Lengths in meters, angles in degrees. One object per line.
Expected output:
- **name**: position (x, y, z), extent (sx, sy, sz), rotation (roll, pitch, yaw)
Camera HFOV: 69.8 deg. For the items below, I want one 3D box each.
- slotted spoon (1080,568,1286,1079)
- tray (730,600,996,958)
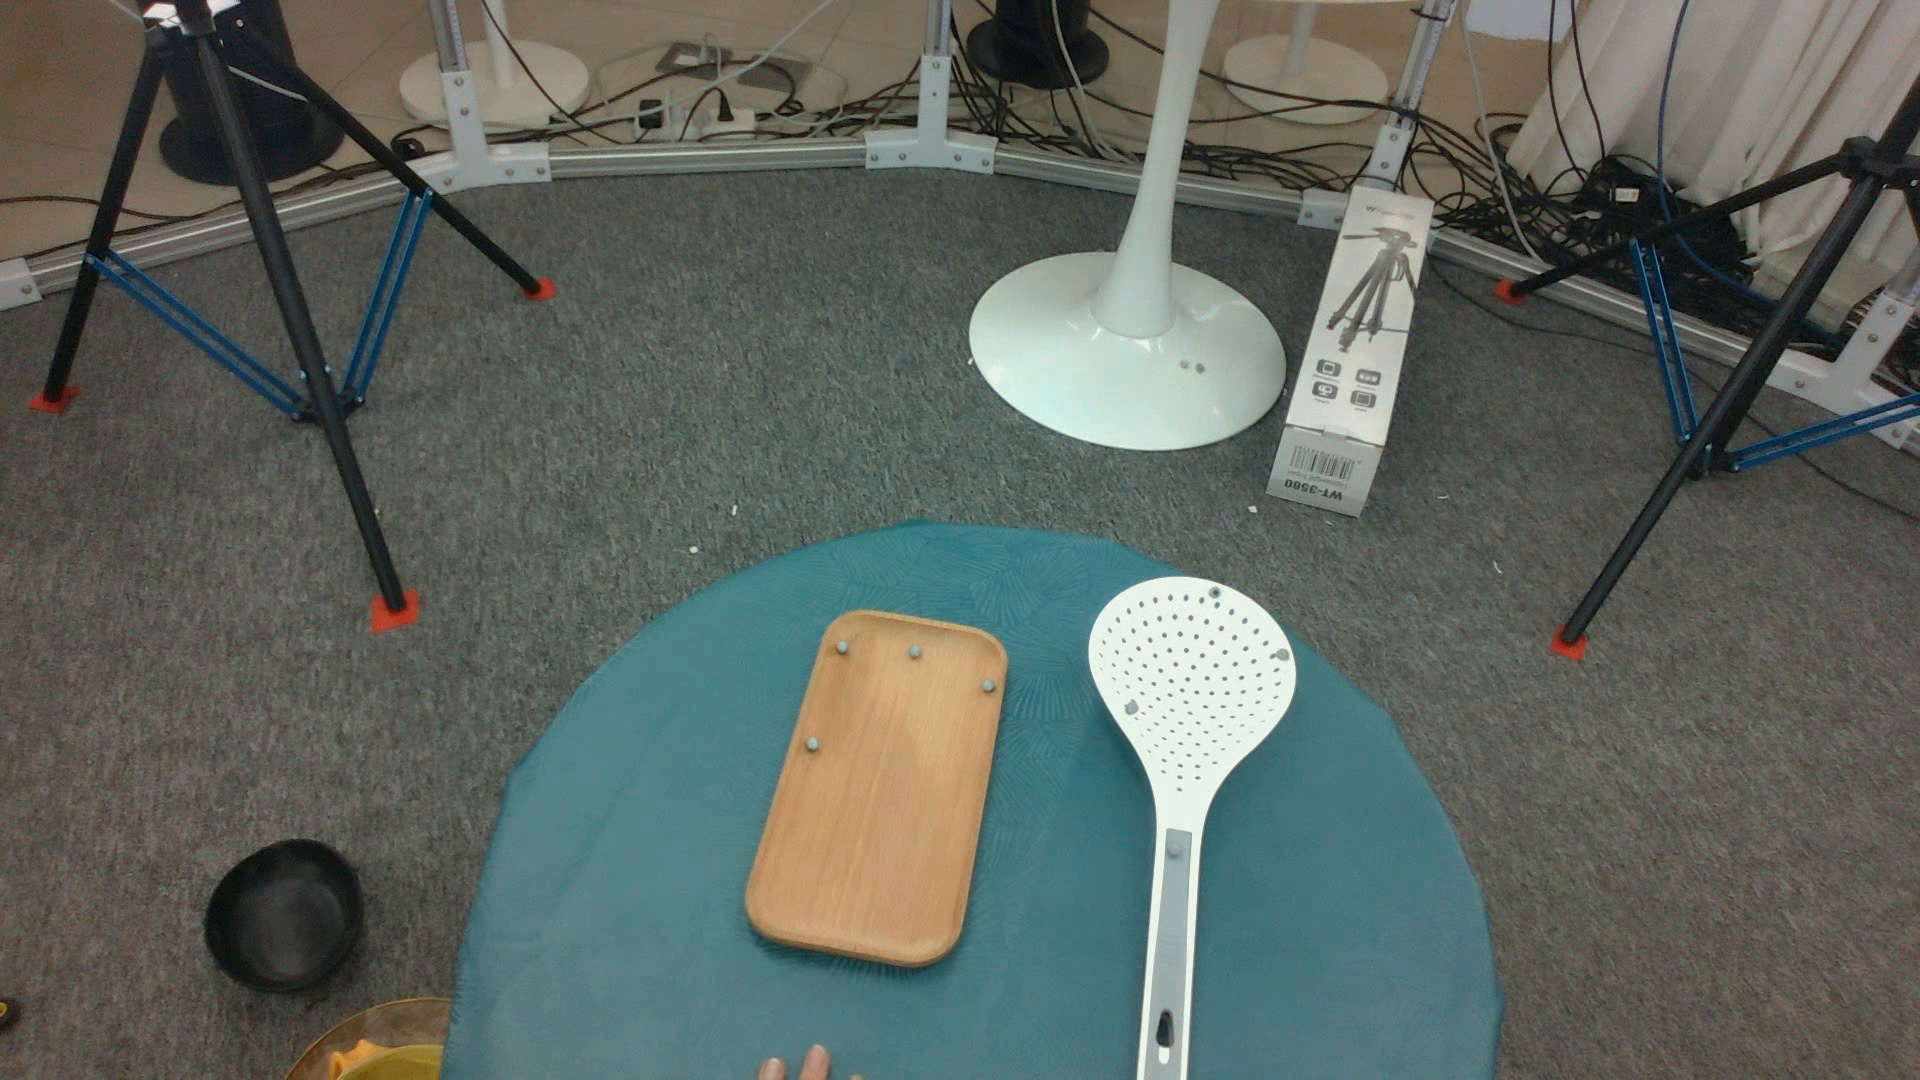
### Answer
- **slotted spoon**: position (0.128, 0.159, 0.844), extent (0.136, 0.045, 0.351), rotation (9, 46, 5)
- **tray**: position (-0.054, 0.140, 0.860), extent (0.130, 0.023, 0.252), rotation (9, 46, 4)
